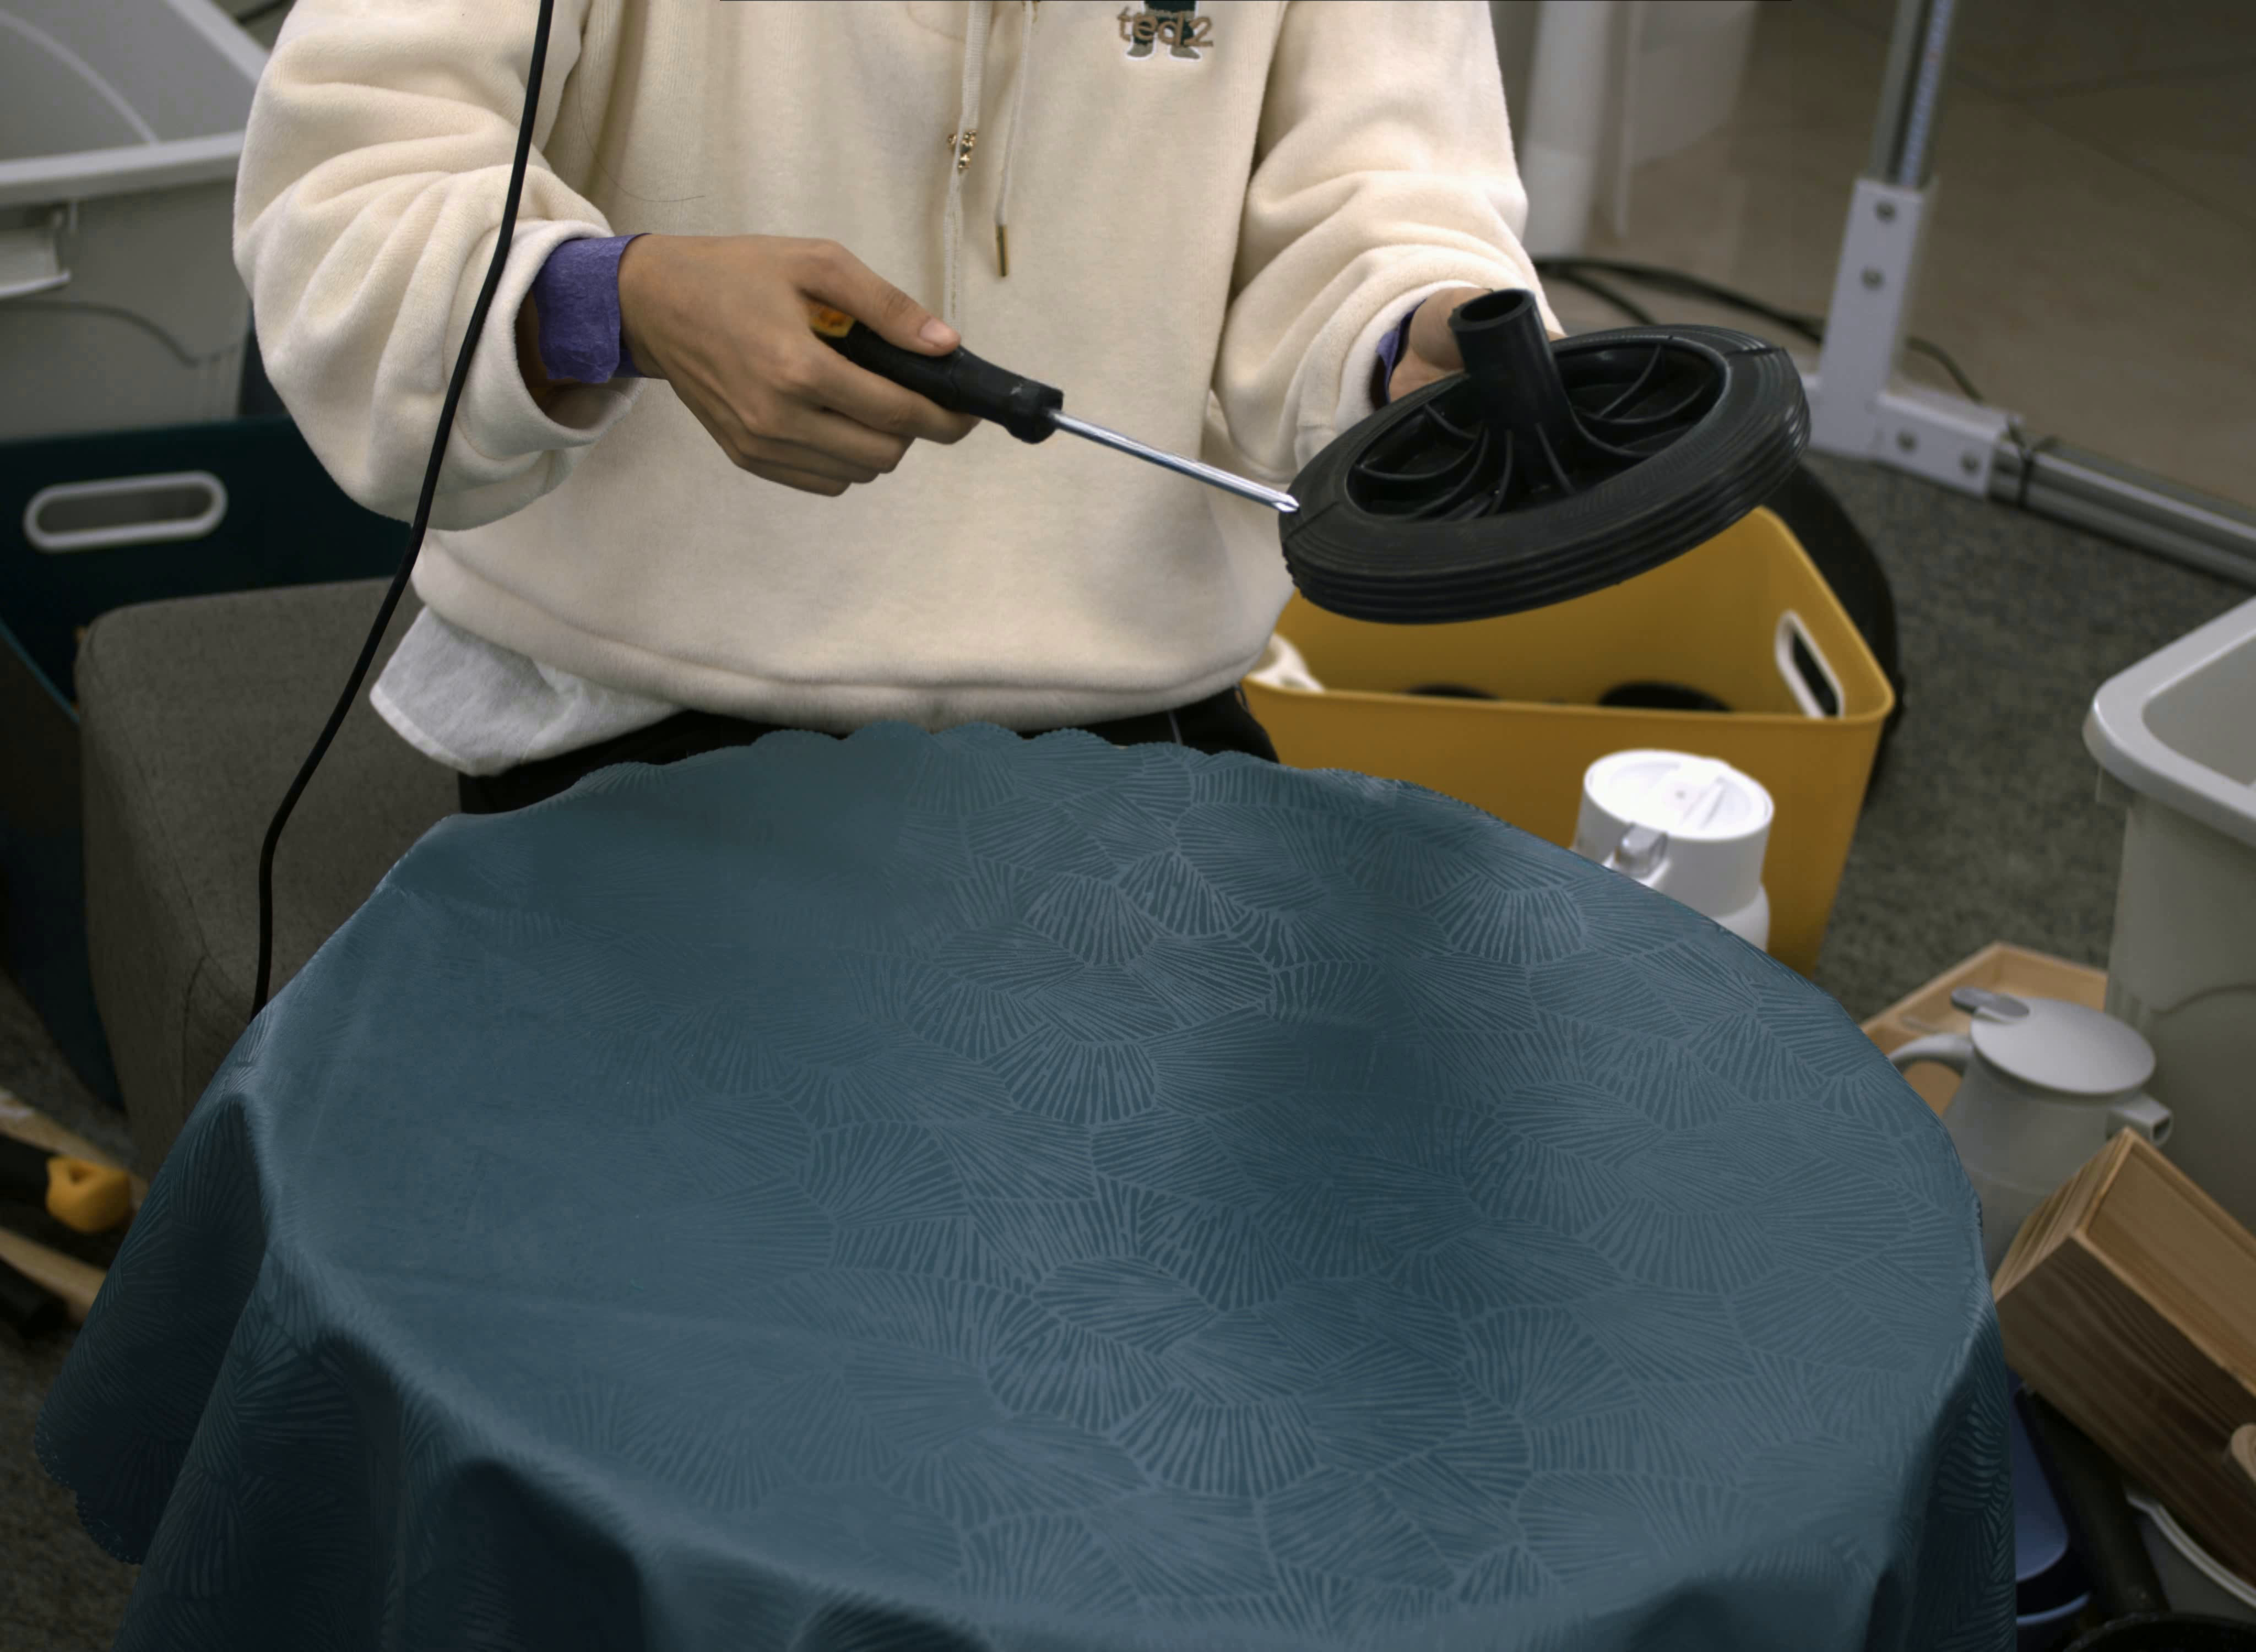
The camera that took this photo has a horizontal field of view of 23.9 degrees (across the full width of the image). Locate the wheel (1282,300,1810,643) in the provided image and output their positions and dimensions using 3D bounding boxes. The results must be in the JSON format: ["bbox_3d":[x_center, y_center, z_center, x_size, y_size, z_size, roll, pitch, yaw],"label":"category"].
[{"bbox_3d":[0.136,-0.138,1.829,0.188,0.078,0.190,-6,30,30],"label":"wheel"}]

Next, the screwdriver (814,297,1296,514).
[{"bbox_3d":[-0.027,-0.147,1.876,0.197,0.031,0.031,22,30,25],"label":"screwdriver"}]
